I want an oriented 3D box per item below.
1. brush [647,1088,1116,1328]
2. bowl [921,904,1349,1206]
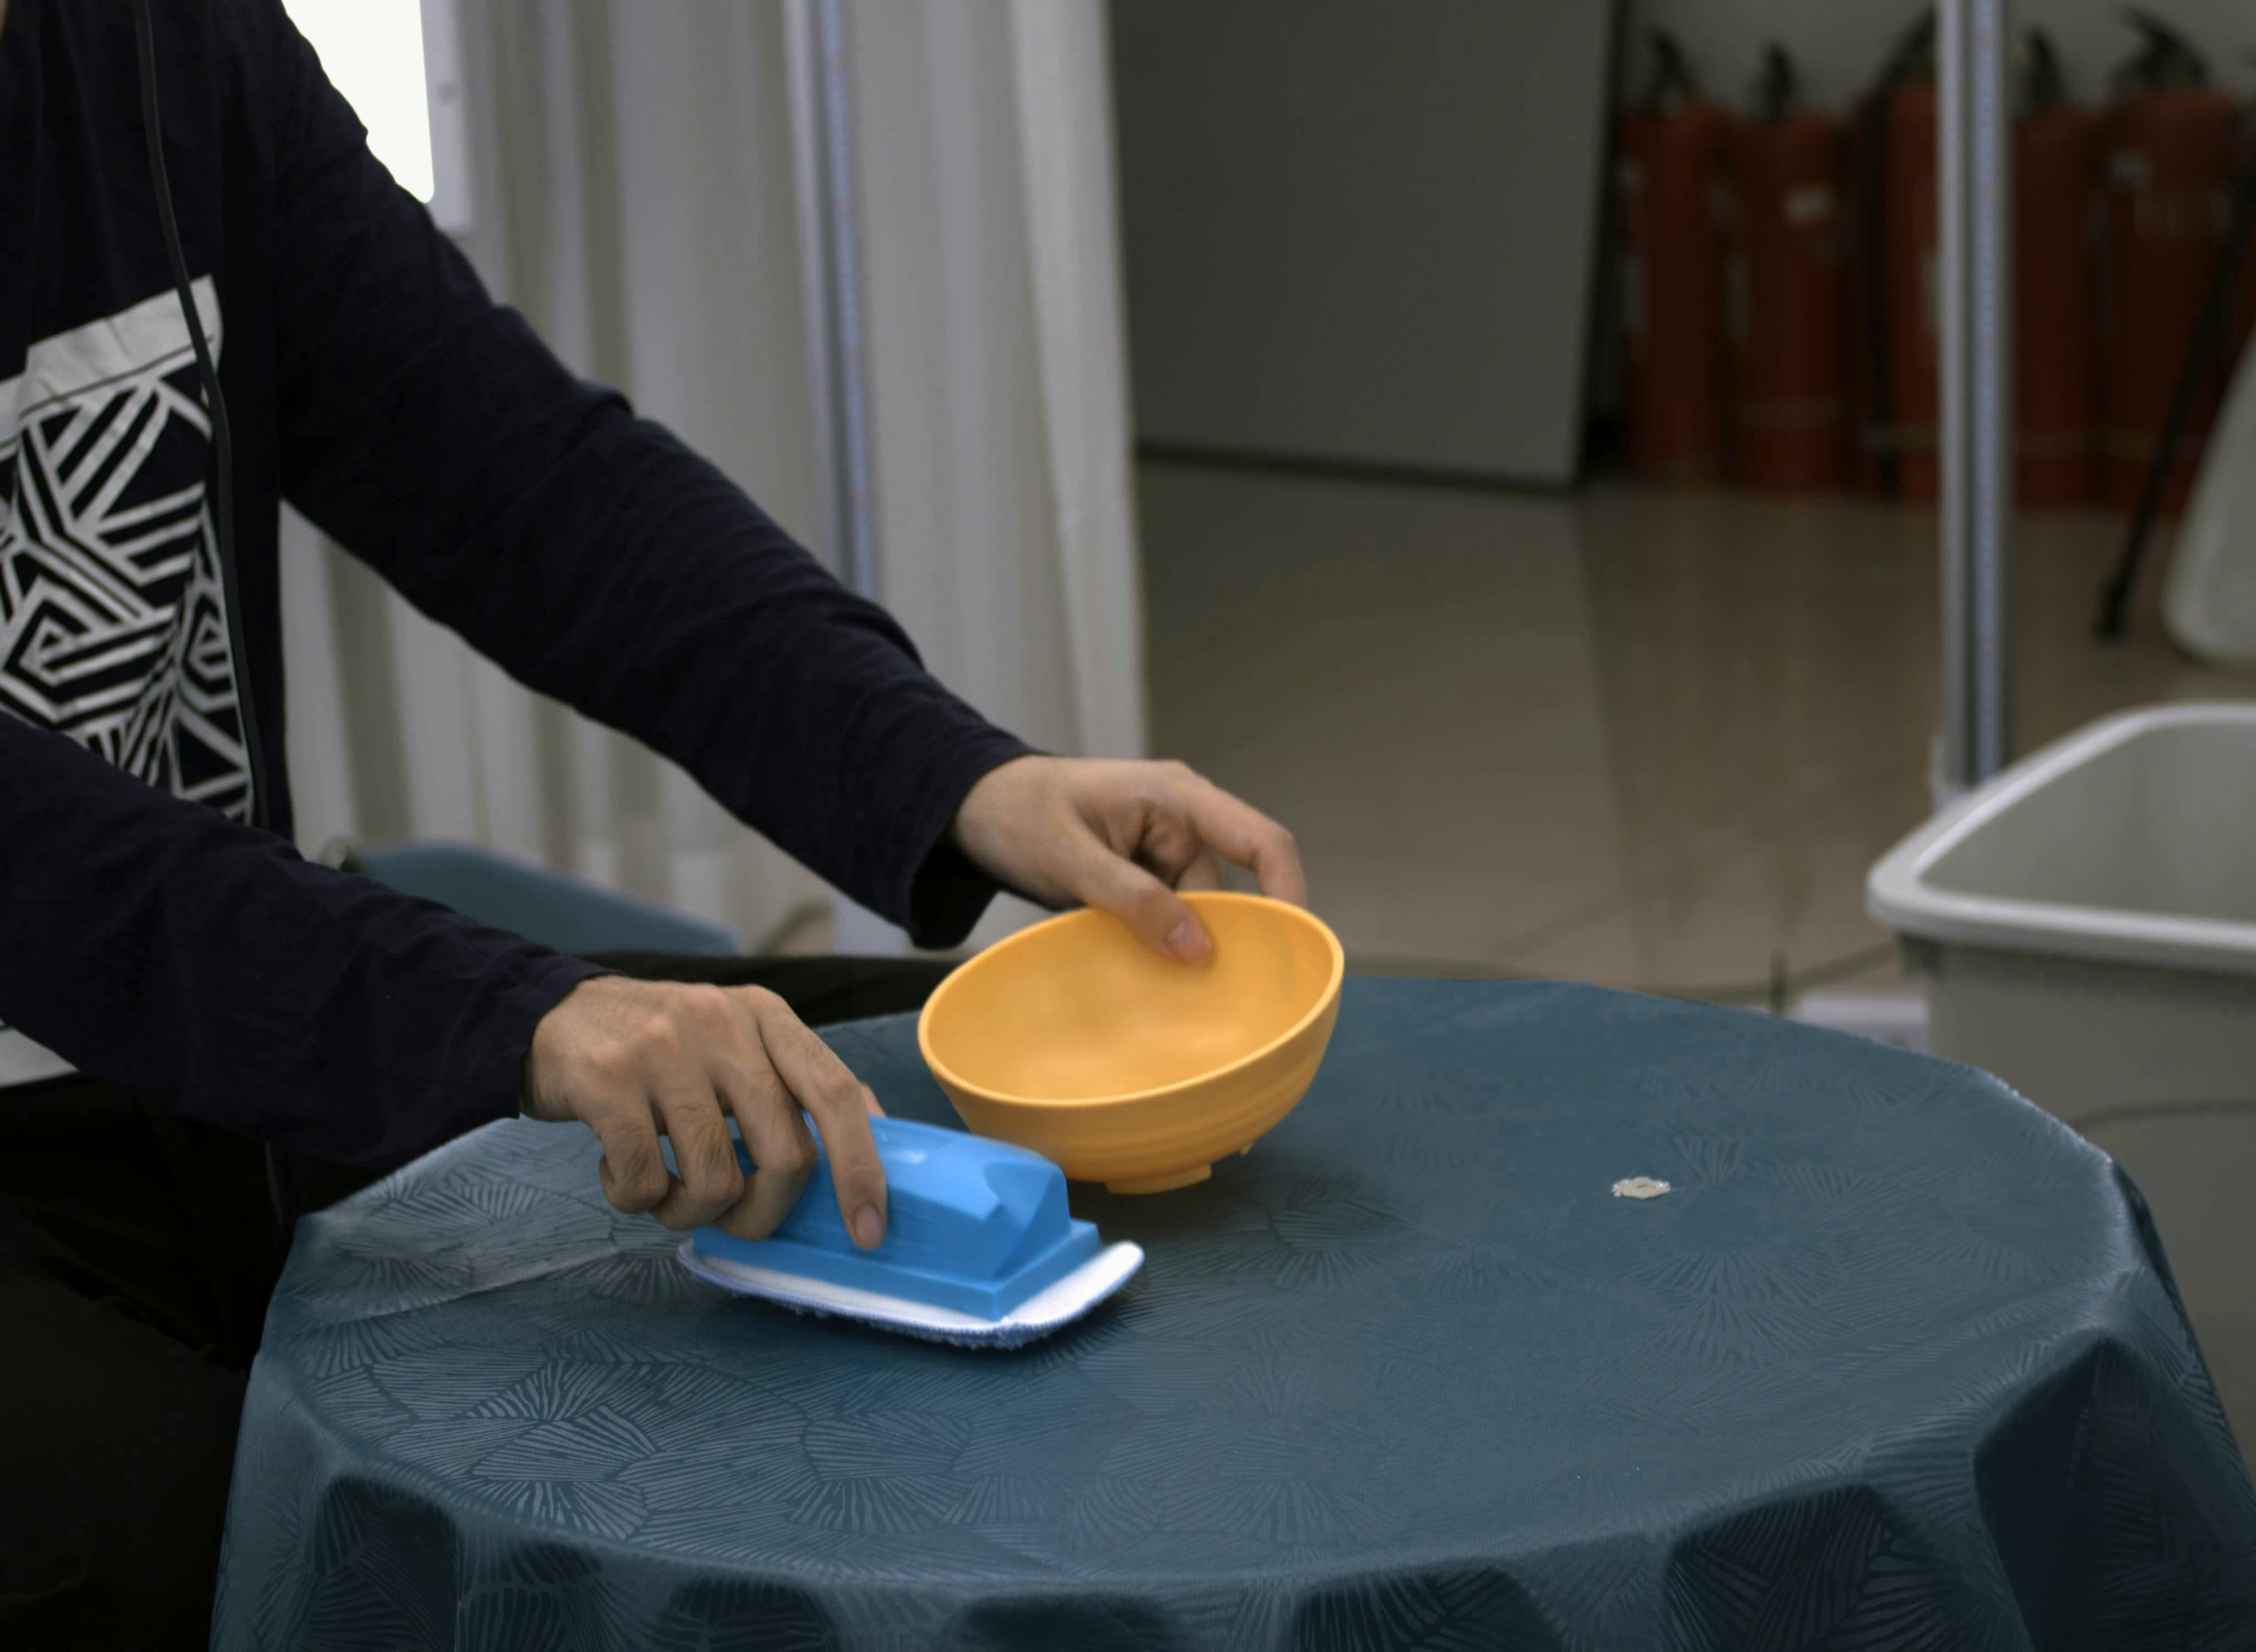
[{"bbox_3d":[-0.076,0.116,1.672,0.145,0.056,0.082,12,19,36],"label":"brush"},{"bbox_3d":[0.006,0.084,1.781,0.144,0.060,0.146,-9,23,3],"label":"bowl"}]
